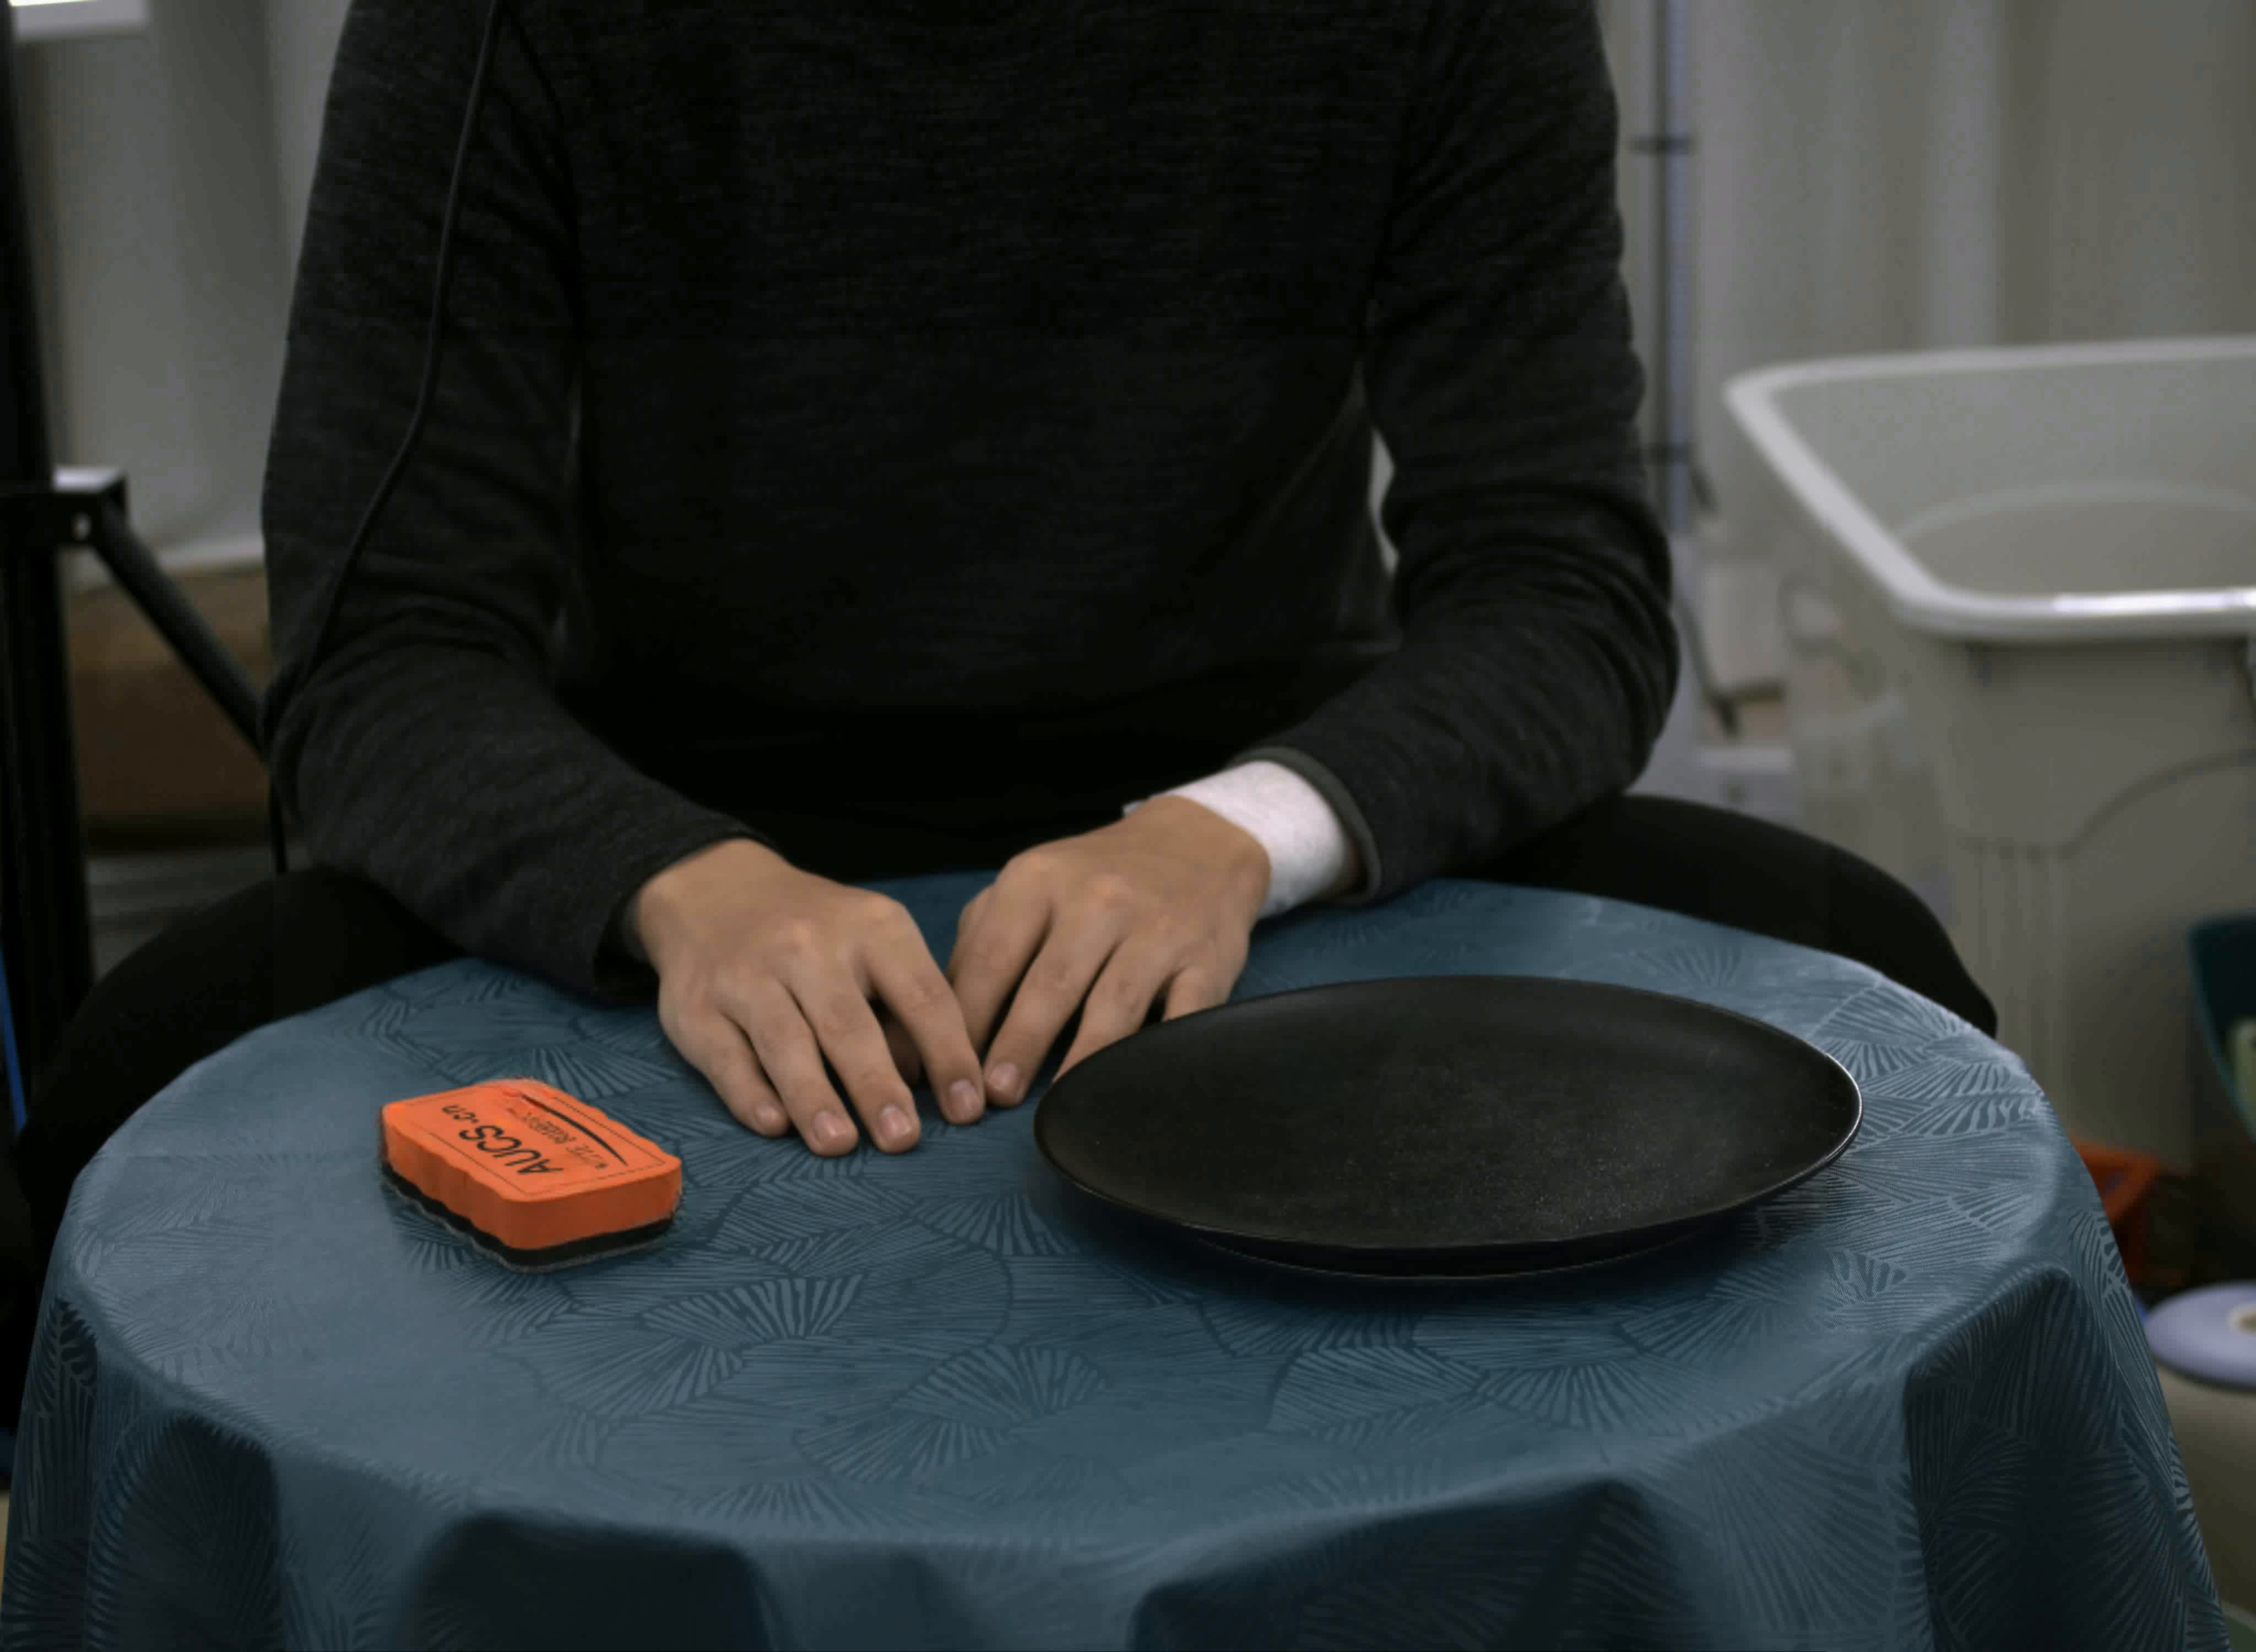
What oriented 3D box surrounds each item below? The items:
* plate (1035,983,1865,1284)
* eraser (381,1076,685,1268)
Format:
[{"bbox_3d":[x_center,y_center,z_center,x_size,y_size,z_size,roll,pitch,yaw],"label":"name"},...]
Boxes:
[{"bbox_3d":[0.095,0.092,1.556,0.243,0.023,0.245,-3,16,-1],"label":"plate"},{"bbox_3d":[-0.175,0.101,1.567,0.057,0.023,0.110,-9,17,-28],"label":"eraser"}]
